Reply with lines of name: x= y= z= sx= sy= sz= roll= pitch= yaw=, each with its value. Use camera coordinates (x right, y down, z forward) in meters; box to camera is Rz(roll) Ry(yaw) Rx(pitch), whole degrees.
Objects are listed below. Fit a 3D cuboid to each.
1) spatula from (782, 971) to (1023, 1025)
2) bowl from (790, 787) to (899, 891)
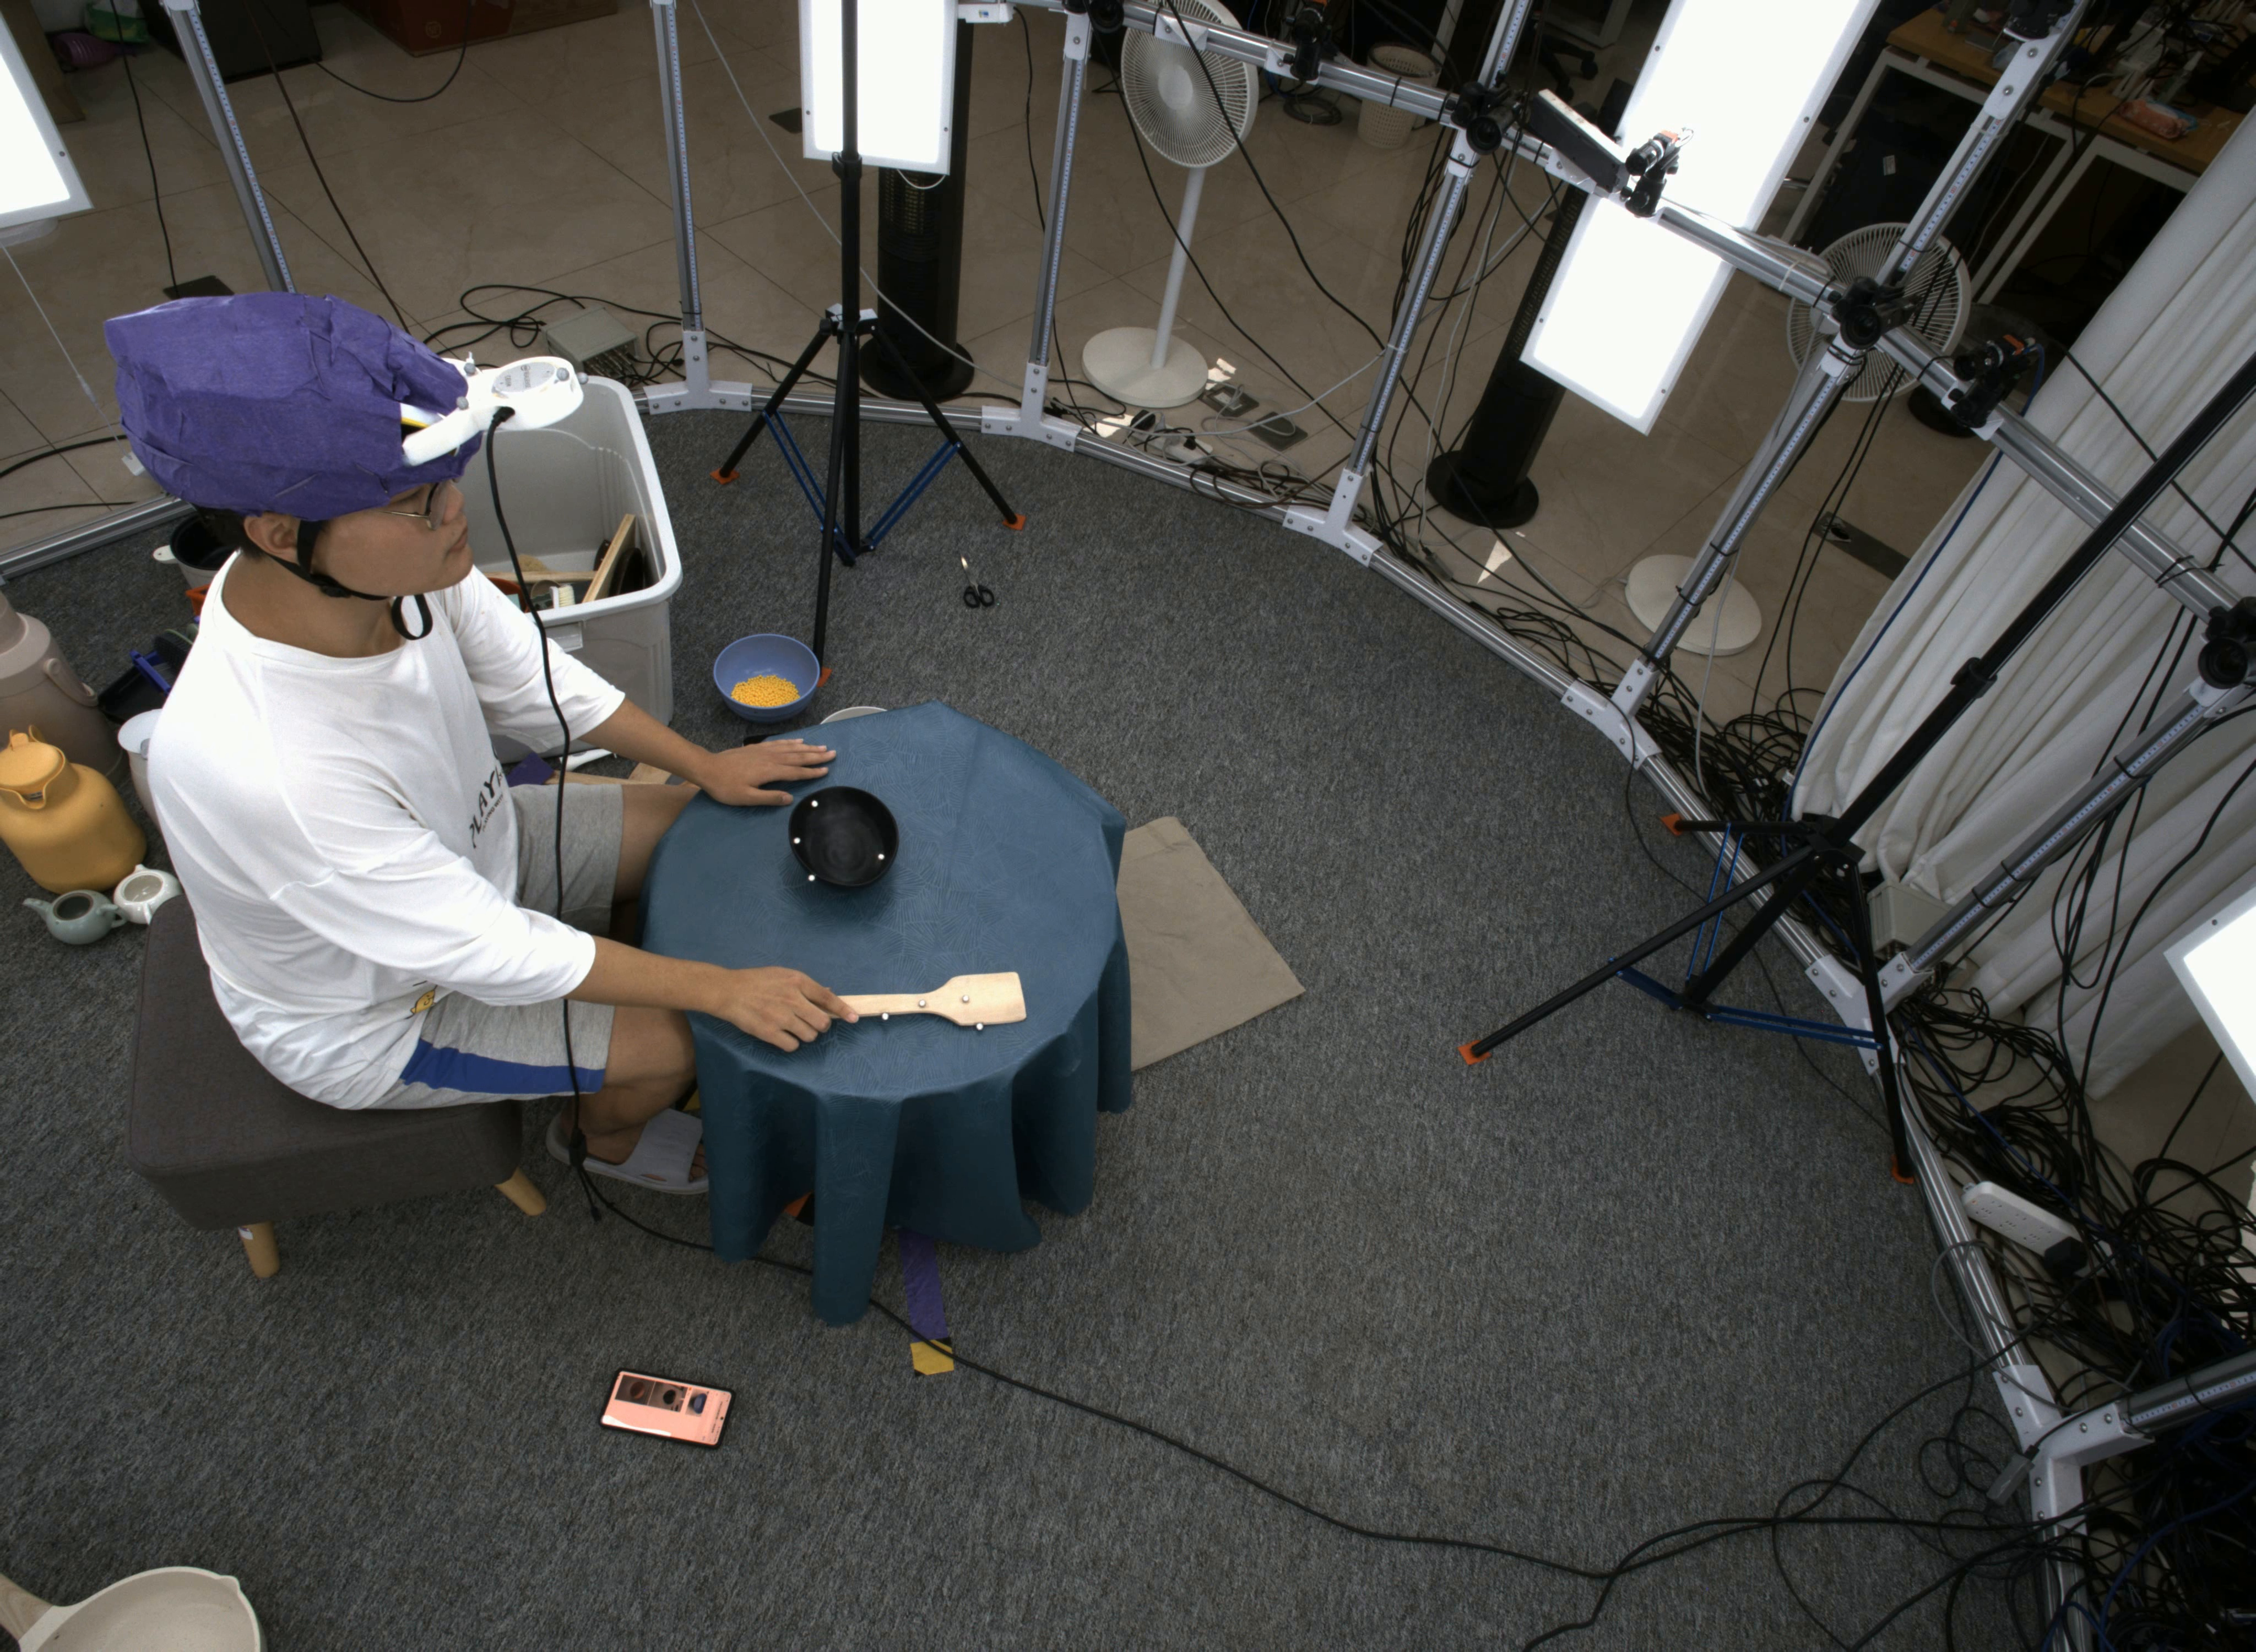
spatula: x=-0.274 y=0.215 z=1.590 sx=0.295 sy=0.011 sz=0.070 roll=-1 pitch=55 yaw=-22
bowl: x=-0.368 y=0.024 z=1.689 sx=0.138 sy=0.068 sz=0.166 roll=-14 pitch=56 yaw=-21
